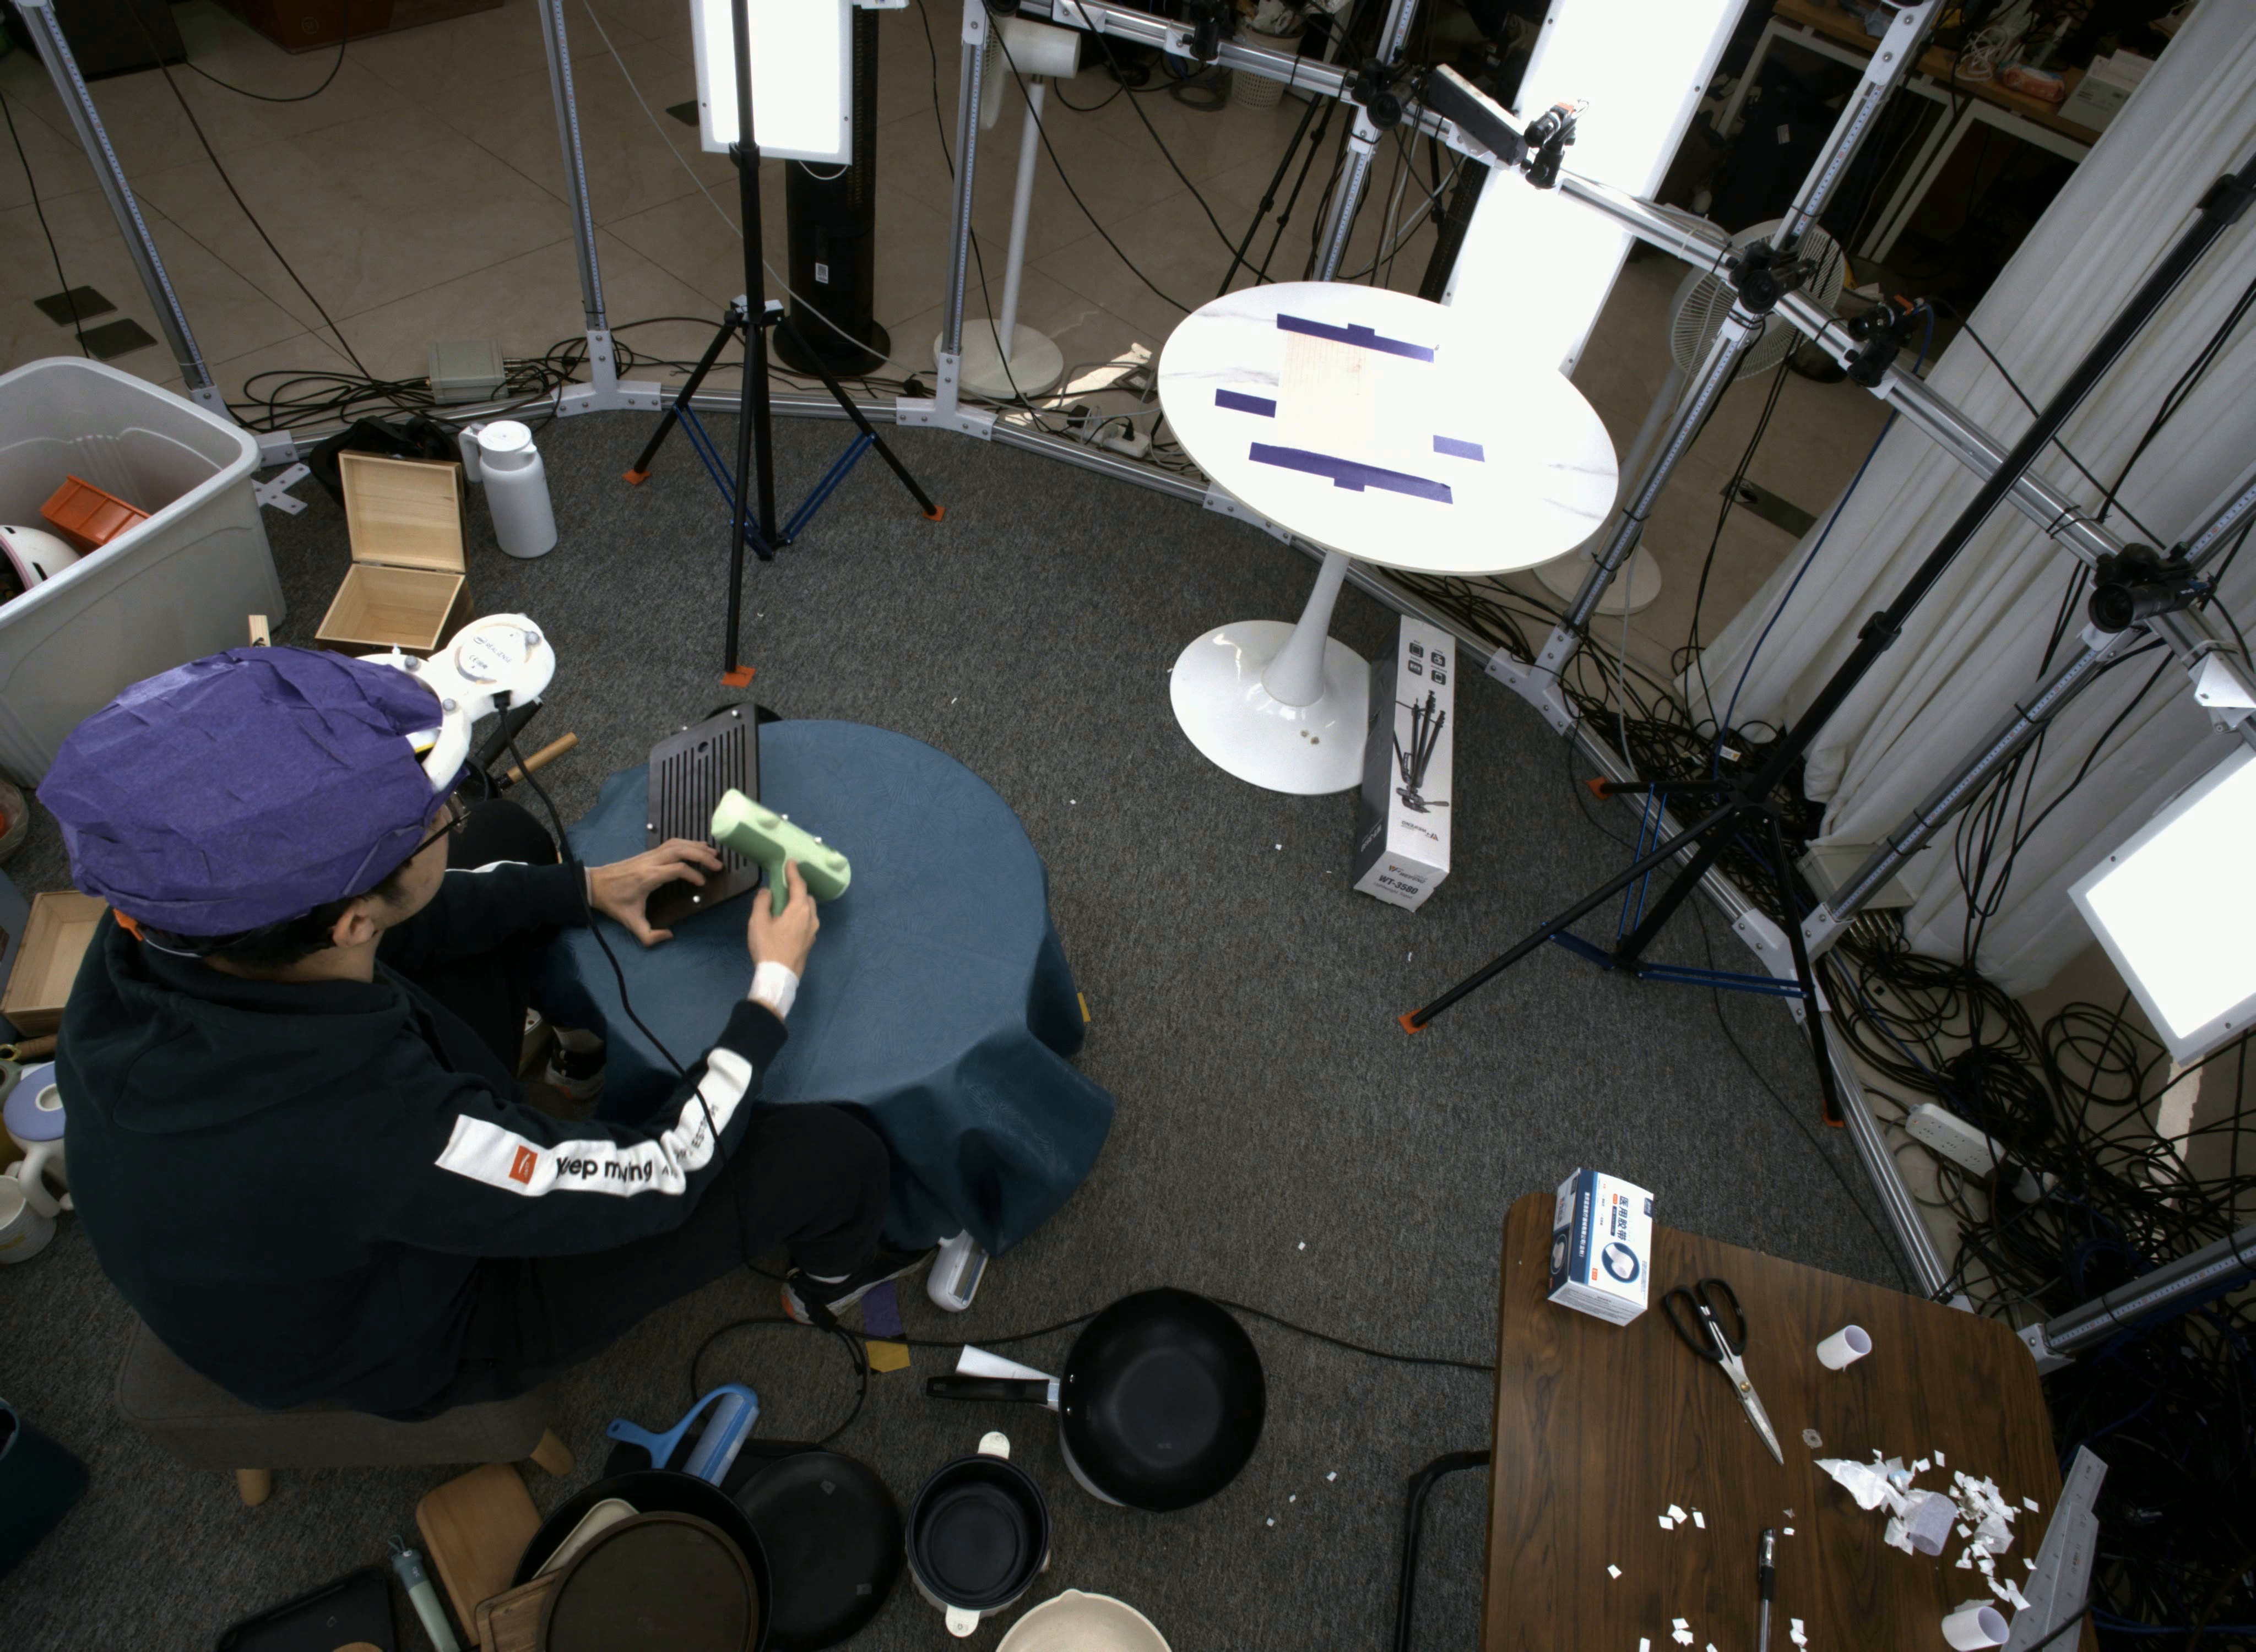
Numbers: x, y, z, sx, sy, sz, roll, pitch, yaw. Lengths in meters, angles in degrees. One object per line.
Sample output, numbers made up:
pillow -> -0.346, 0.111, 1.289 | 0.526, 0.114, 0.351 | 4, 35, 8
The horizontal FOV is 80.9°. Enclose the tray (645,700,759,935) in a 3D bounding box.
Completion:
tray -> -0.544, -0.016, 1.648 | 0.168, 0.019, 0.299 | -22, 56, 12

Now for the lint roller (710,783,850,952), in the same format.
lint roller -> -0.403, 0.058, 1.543 | 0.081, 0.206, 0.178 | -31, 50, 17
